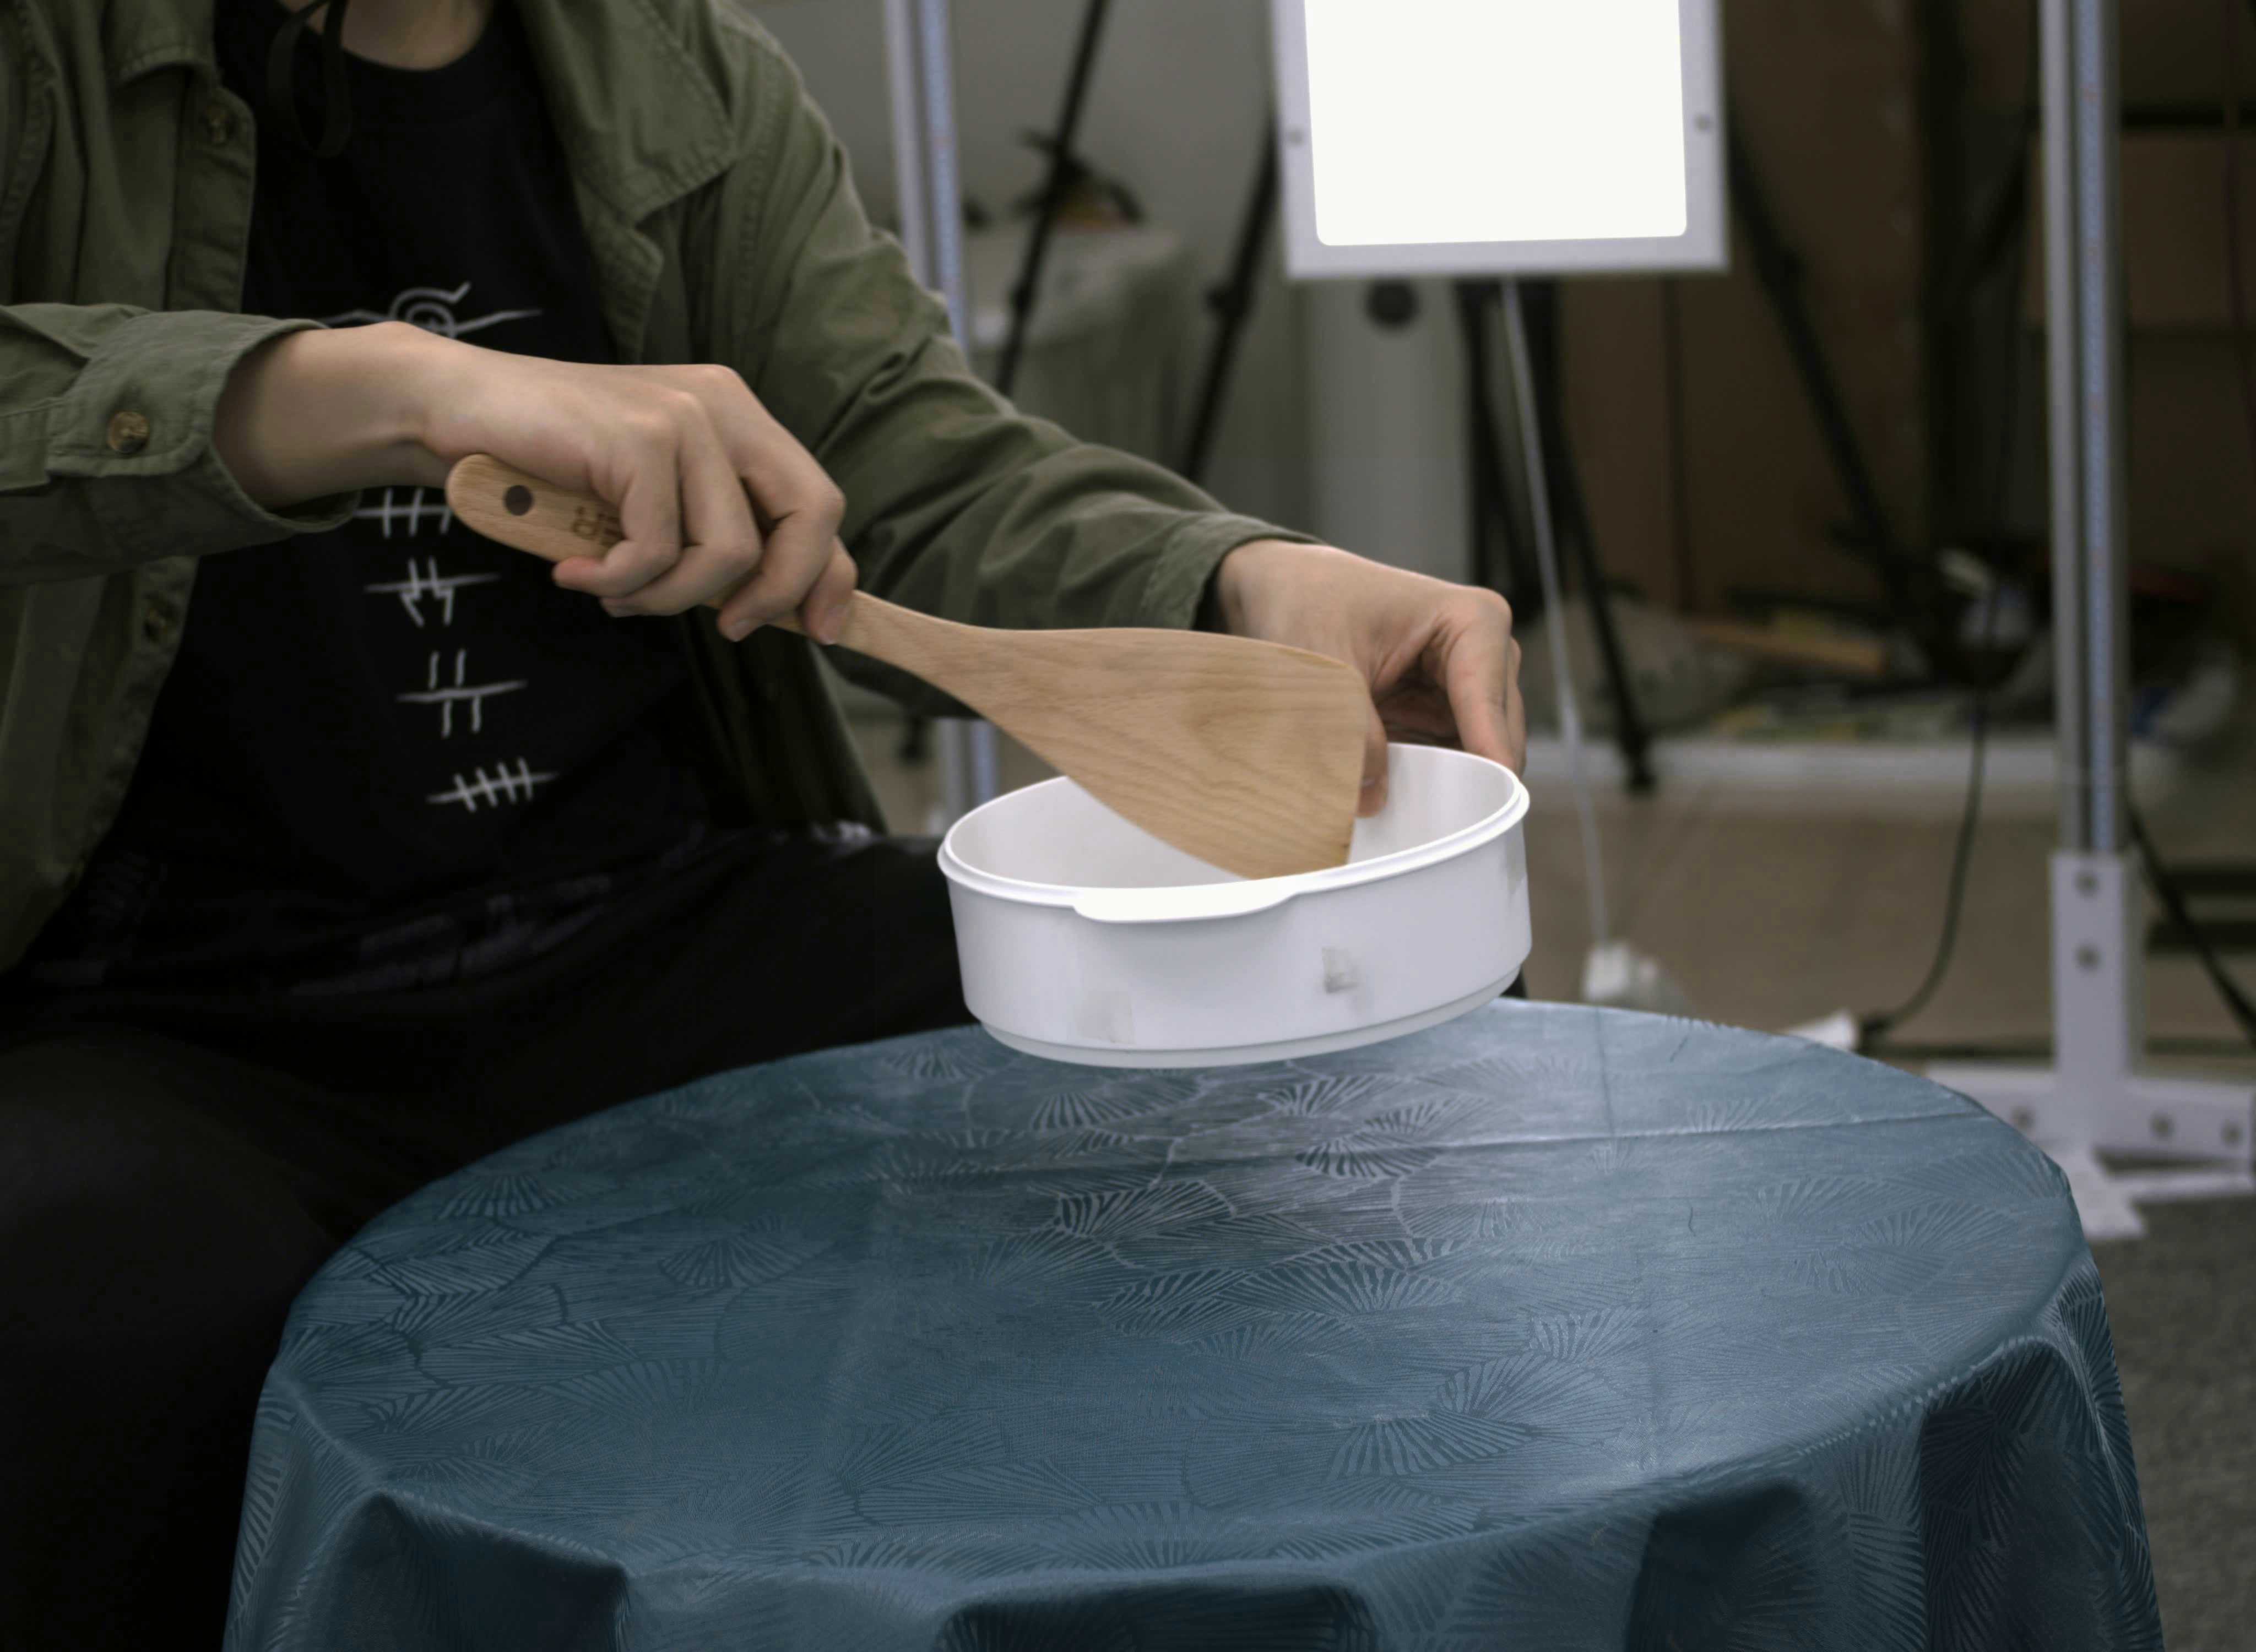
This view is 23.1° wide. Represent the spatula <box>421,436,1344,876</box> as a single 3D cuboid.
[{"bbox_3d":[-0.075,-0.066,1.795,0.323,0.080,0.017,19,-1,-16],"label":"spatula"}]

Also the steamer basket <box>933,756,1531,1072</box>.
[{"bbox_3d":[0.038,0.029,1.848,0.204,0.069,0.228,-3,13,14],"label":"steamer basket"}]
